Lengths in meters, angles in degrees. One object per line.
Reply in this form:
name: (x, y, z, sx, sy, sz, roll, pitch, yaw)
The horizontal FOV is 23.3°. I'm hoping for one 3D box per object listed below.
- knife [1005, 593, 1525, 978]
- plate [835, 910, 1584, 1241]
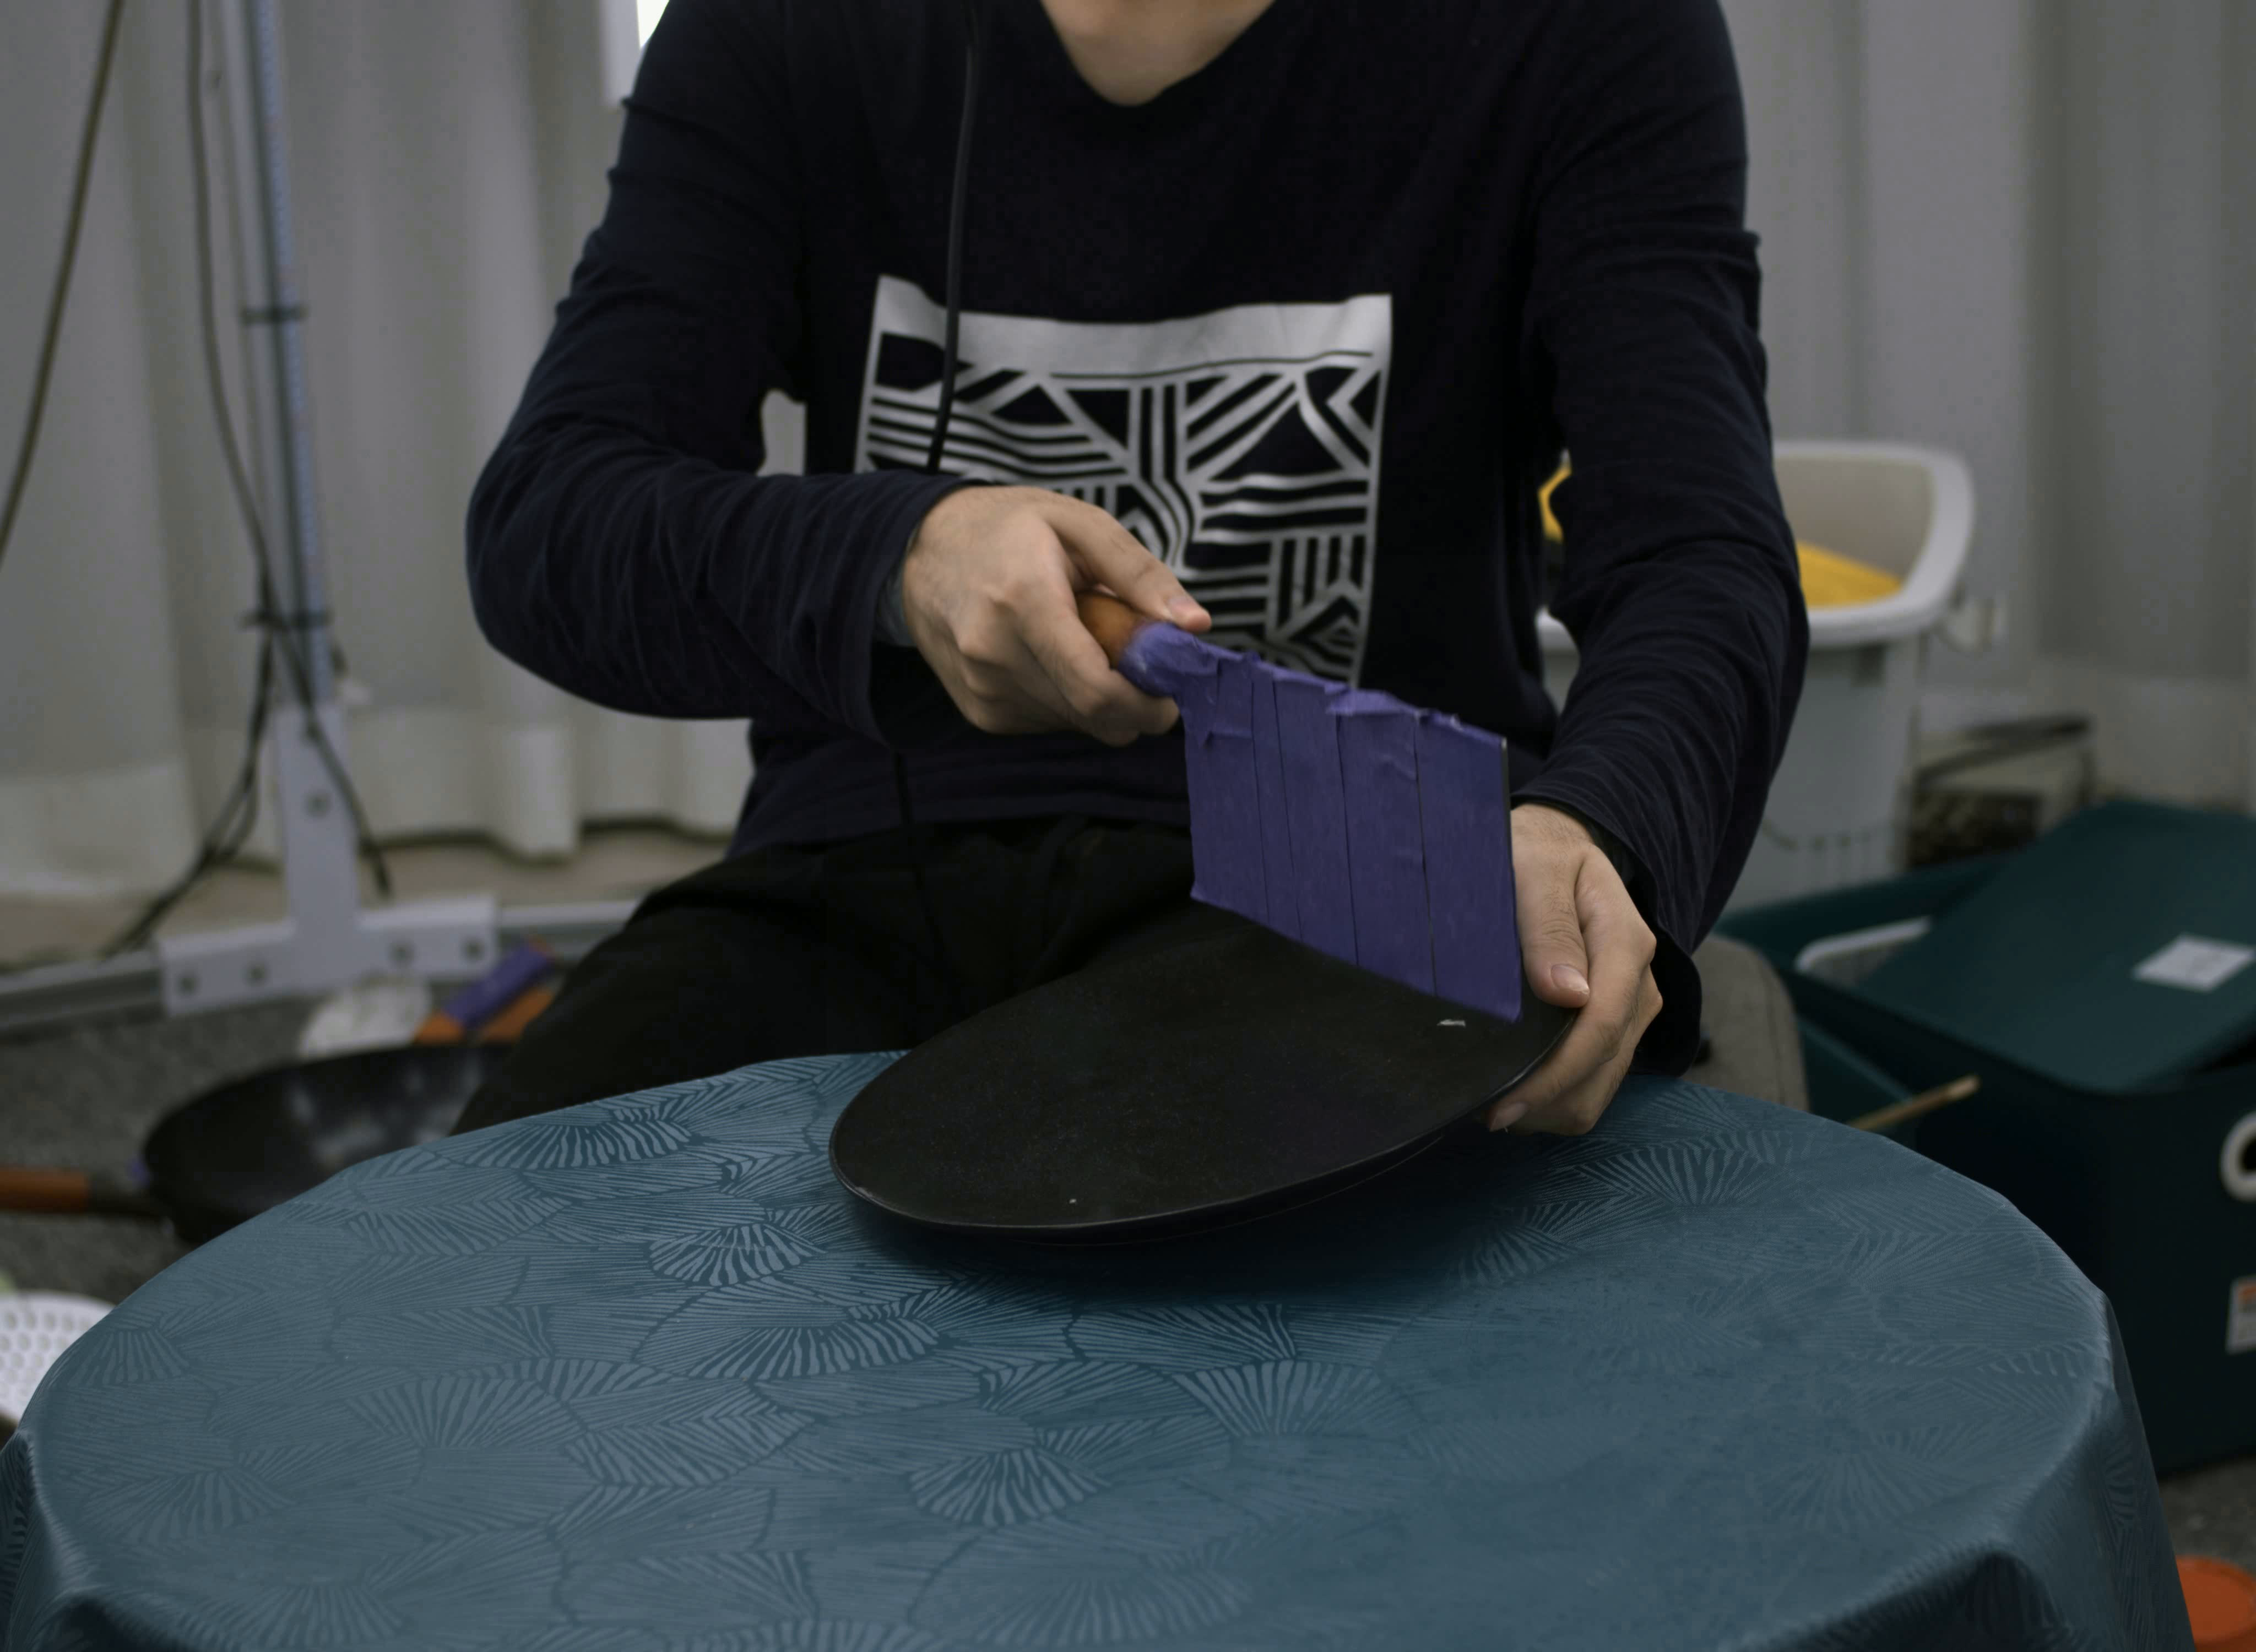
knife: (0.040, -0.014, 1.757, 0.032, 0.103, 0.317, -8, 12, -24)
plate: (0.027, 0.081, 1.722, 0.244, 0.023, 0.246, -15, 17, 4)
